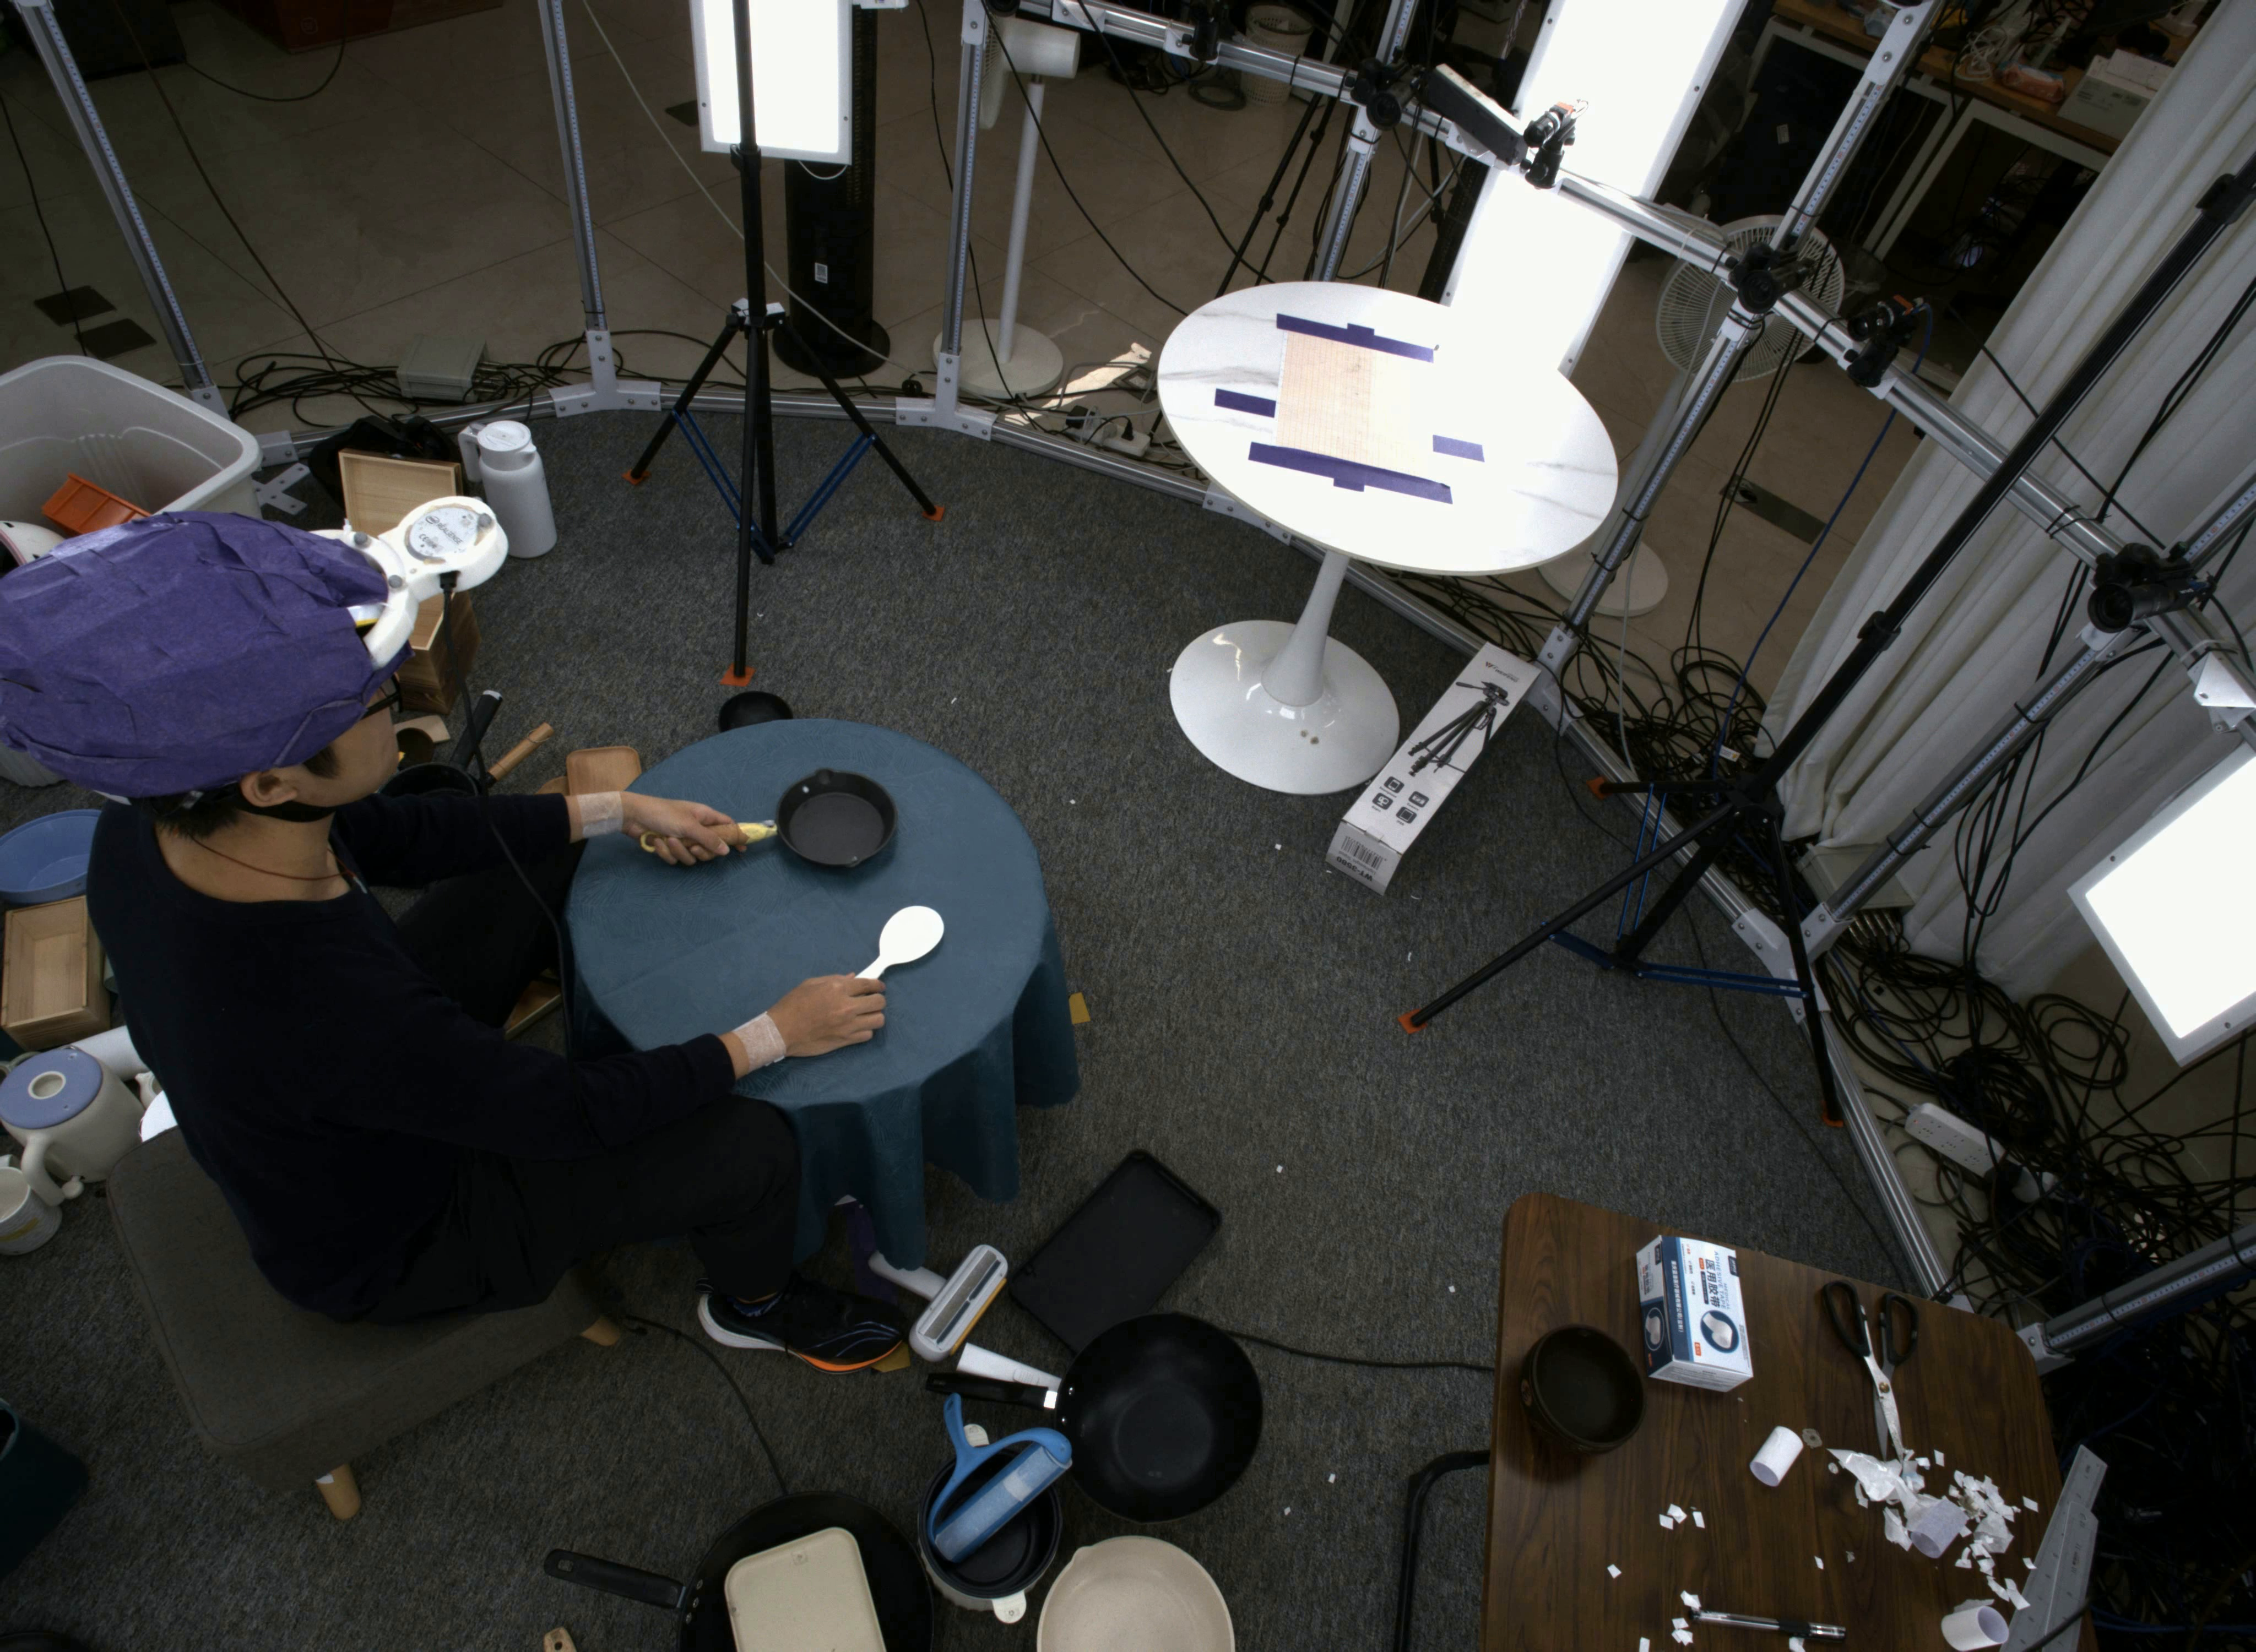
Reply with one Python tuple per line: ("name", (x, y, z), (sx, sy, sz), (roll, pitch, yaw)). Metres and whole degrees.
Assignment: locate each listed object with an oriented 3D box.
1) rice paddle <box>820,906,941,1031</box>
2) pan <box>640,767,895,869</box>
("rice paddle", (-0.303, 0.167, 1.602), (0.068, 0.030, 0.205), (33, 53, 9))
("pan", (-0.462, 0.003, 1.669), (0.326, 0.050, 0.165), (-8, 56, -23))
